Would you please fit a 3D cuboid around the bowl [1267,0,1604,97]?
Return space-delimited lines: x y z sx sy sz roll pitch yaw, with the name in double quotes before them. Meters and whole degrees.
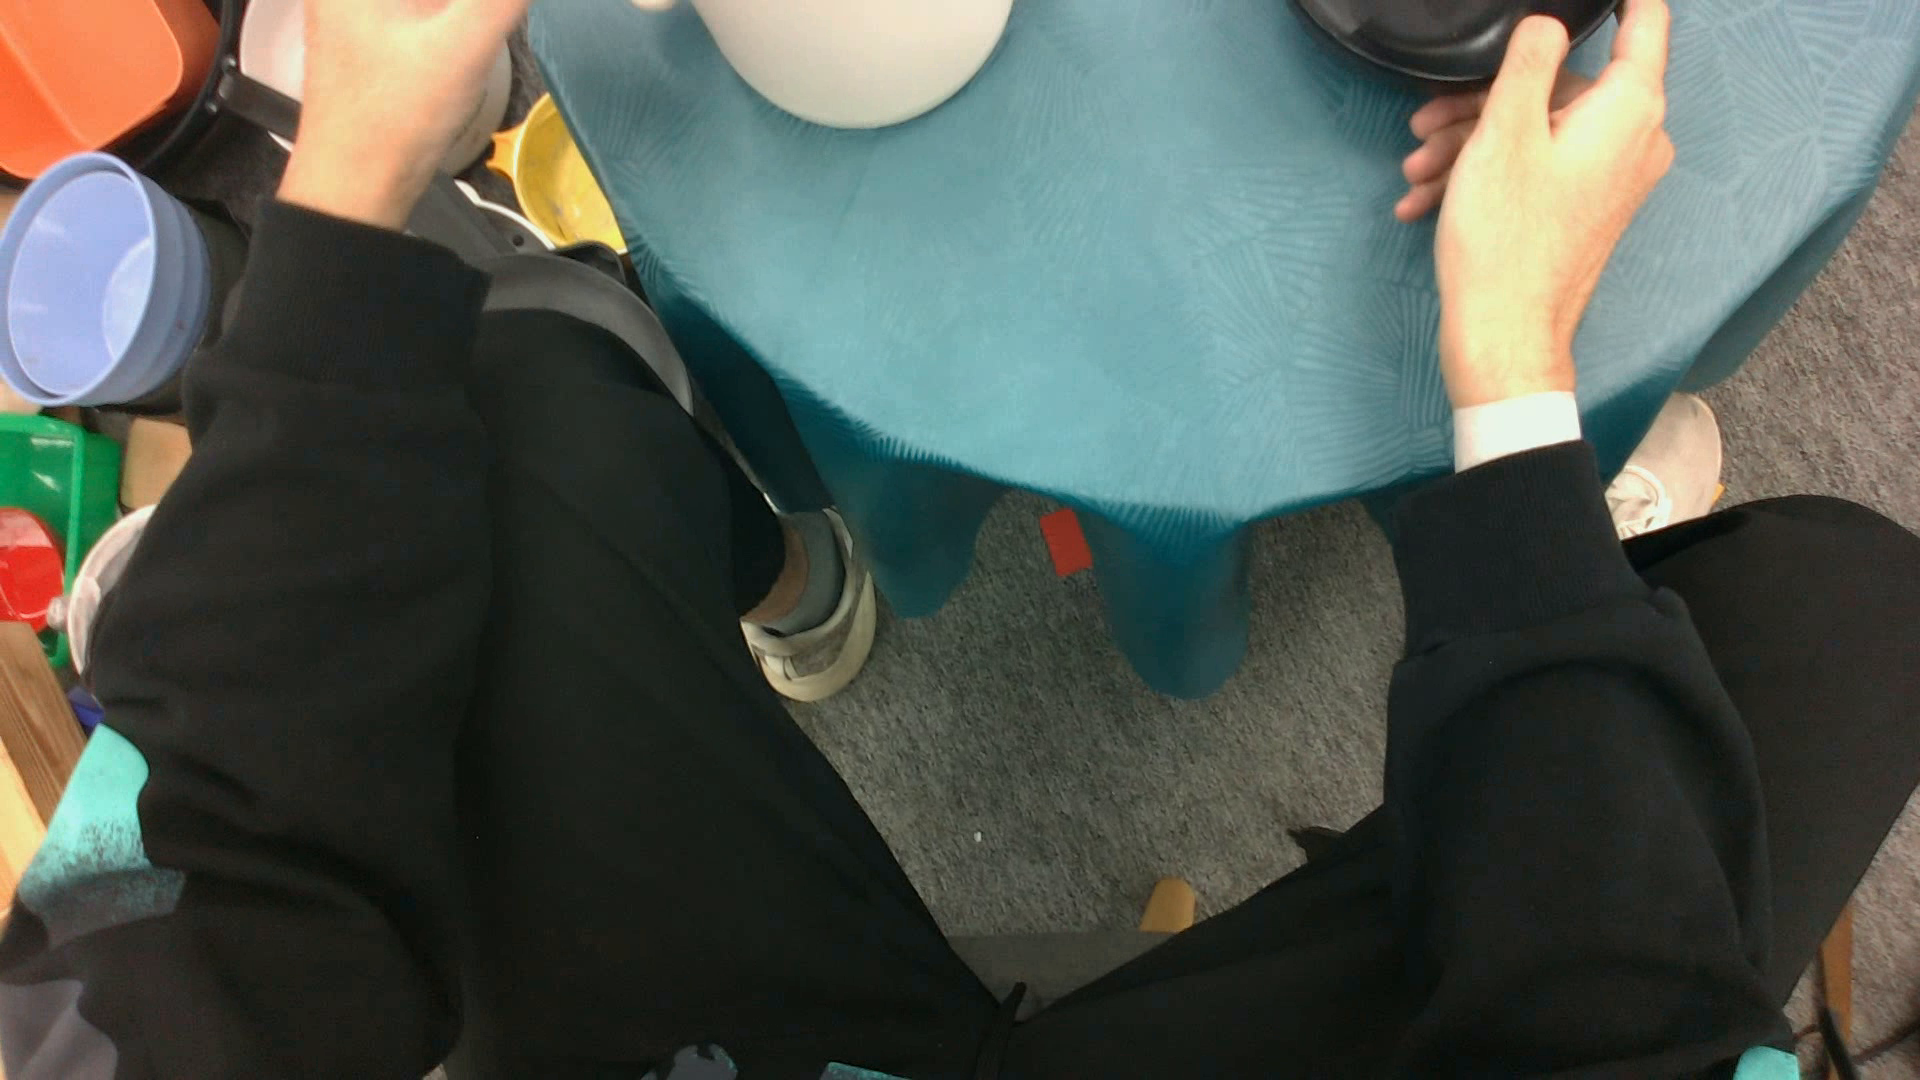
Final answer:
"bowl" 0.178 -0.231 0.533 0.140 0.050 0.140 0 83 2

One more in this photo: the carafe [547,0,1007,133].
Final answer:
"carafe" -0.077 -0.236 0.500 0.191 0.182 0.132 -8 83 7
